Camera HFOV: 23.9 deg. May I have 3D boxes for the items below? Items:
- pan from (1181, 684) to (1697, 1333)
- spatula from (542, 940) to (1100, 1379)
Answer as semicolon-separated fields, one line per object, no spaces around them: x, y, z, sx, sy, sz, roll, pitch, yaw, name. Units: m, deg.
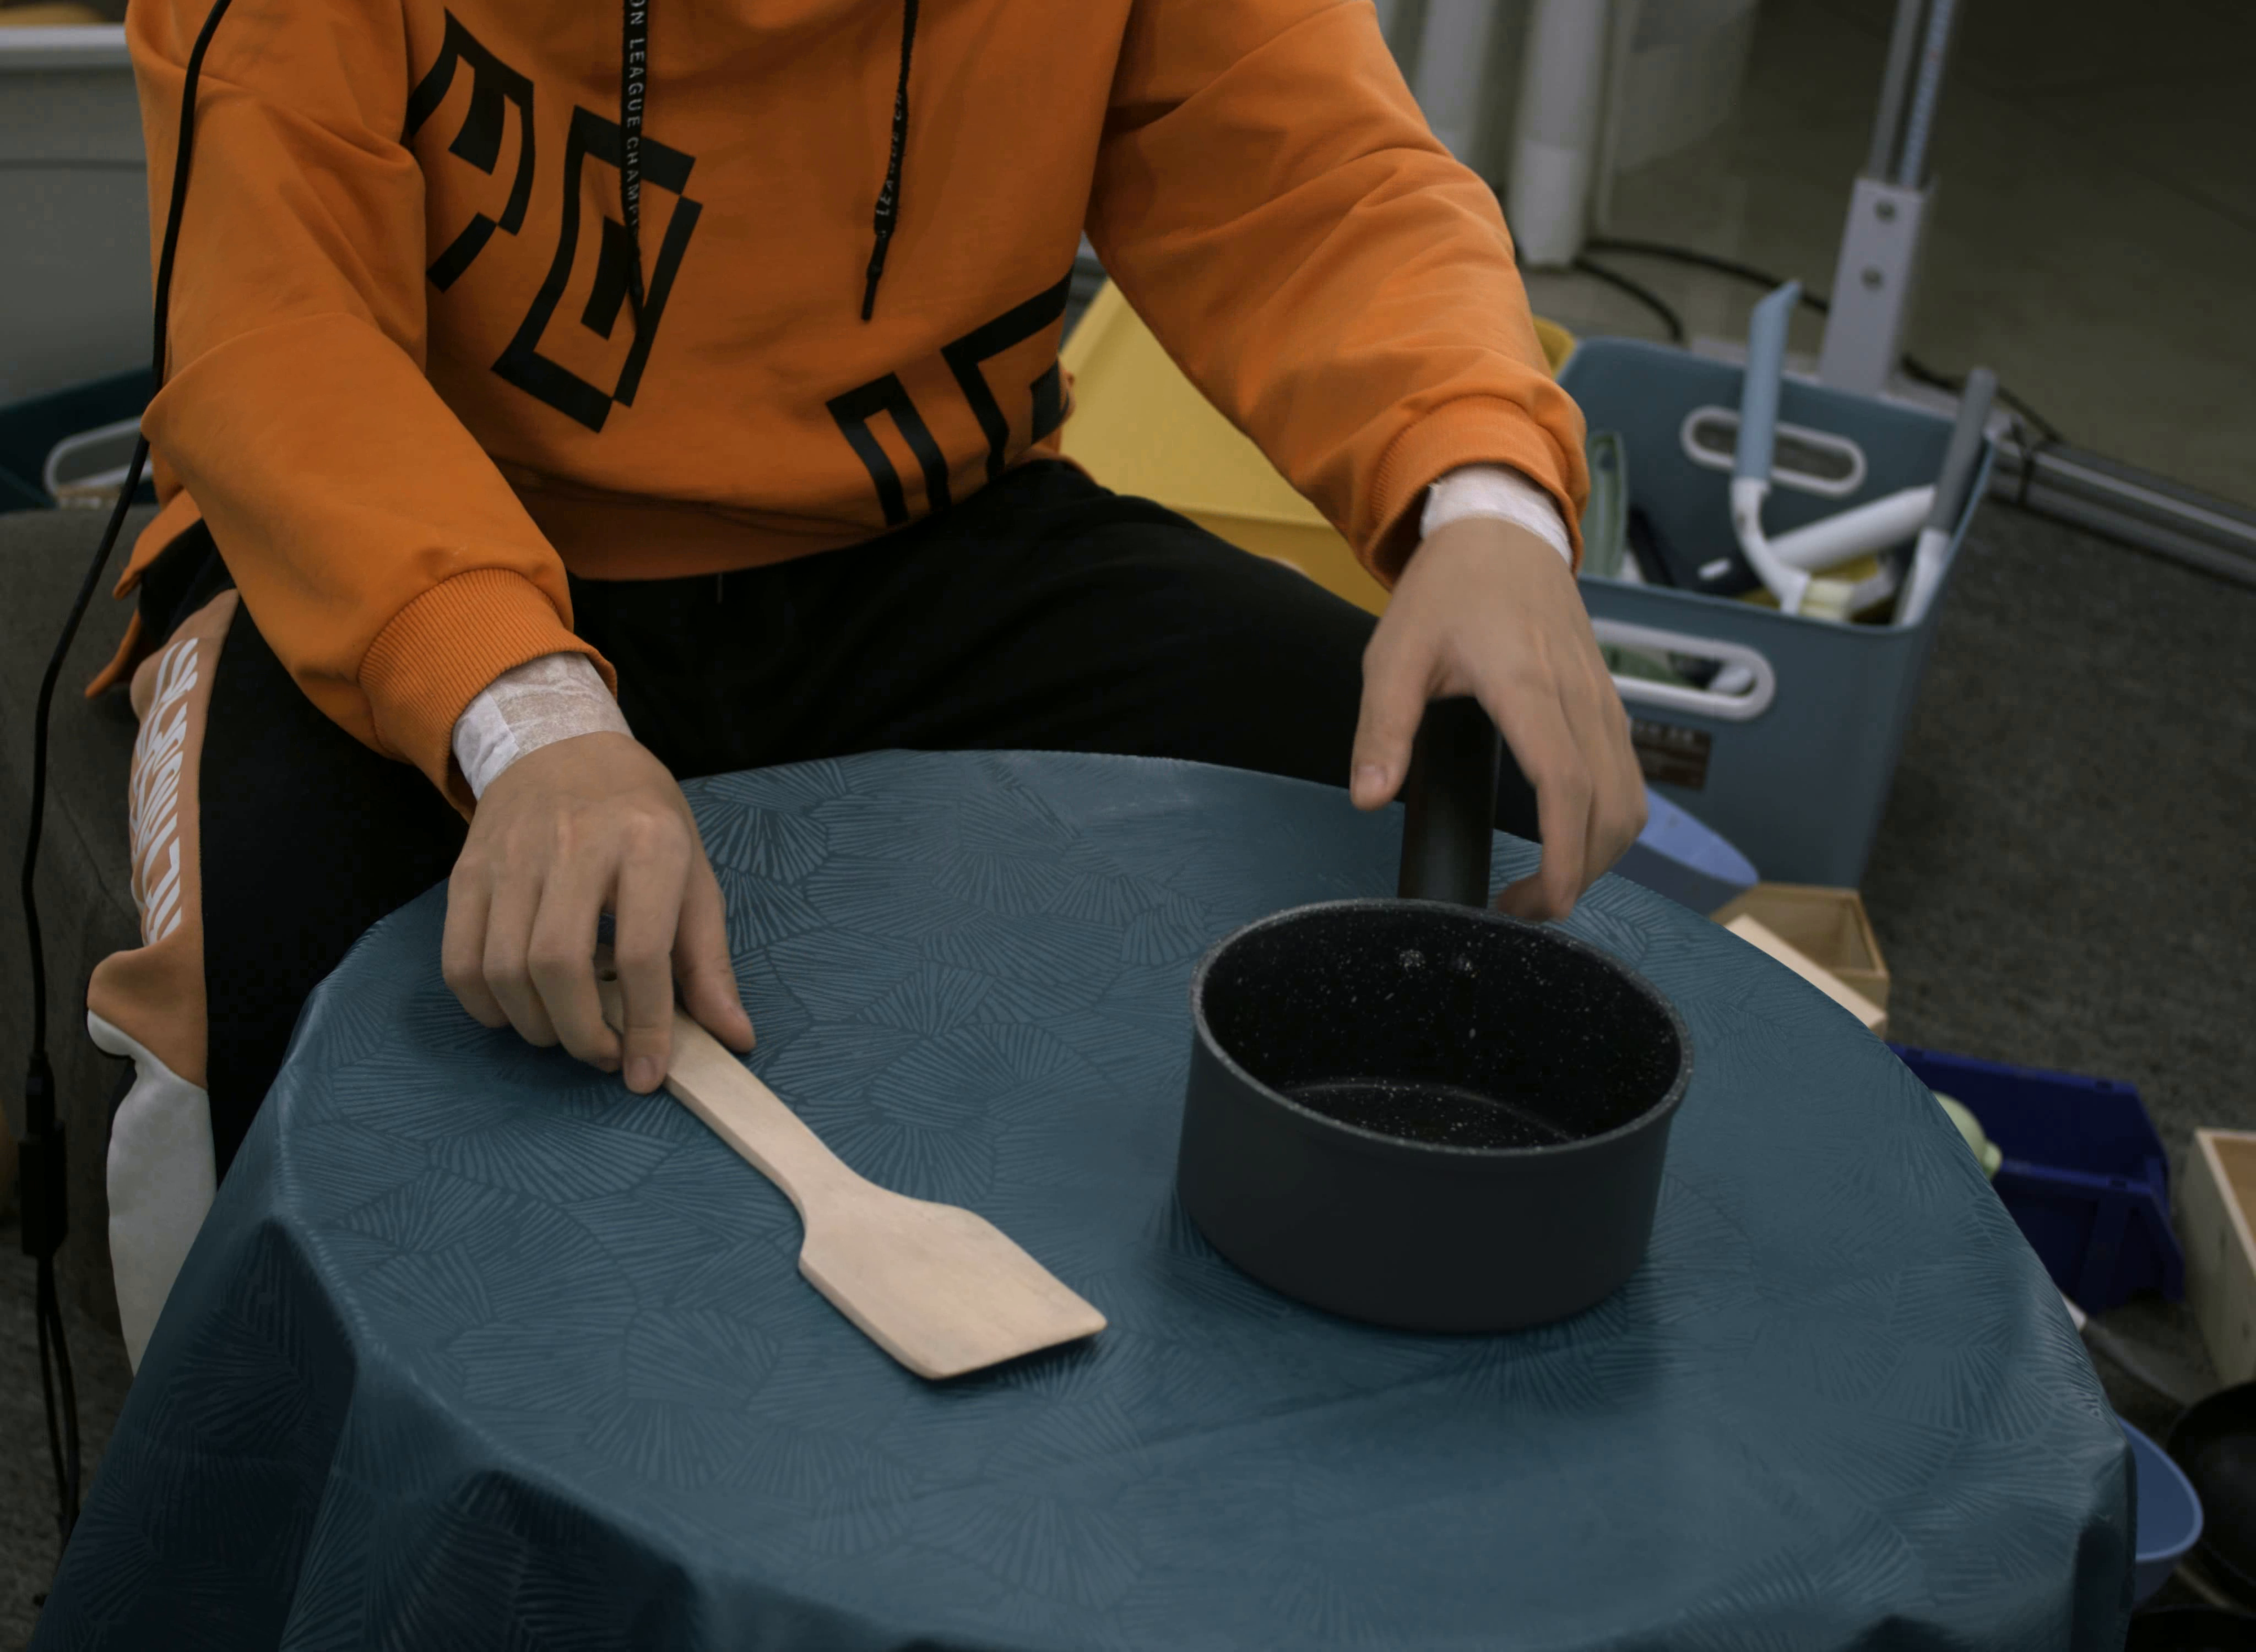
0.111;0.059;1.861;0.172;0.086;0.330;9;29;4;pan
-0.119;0.107;1.798;0.072;0.010;0.295;-16;34;-31;spatula
